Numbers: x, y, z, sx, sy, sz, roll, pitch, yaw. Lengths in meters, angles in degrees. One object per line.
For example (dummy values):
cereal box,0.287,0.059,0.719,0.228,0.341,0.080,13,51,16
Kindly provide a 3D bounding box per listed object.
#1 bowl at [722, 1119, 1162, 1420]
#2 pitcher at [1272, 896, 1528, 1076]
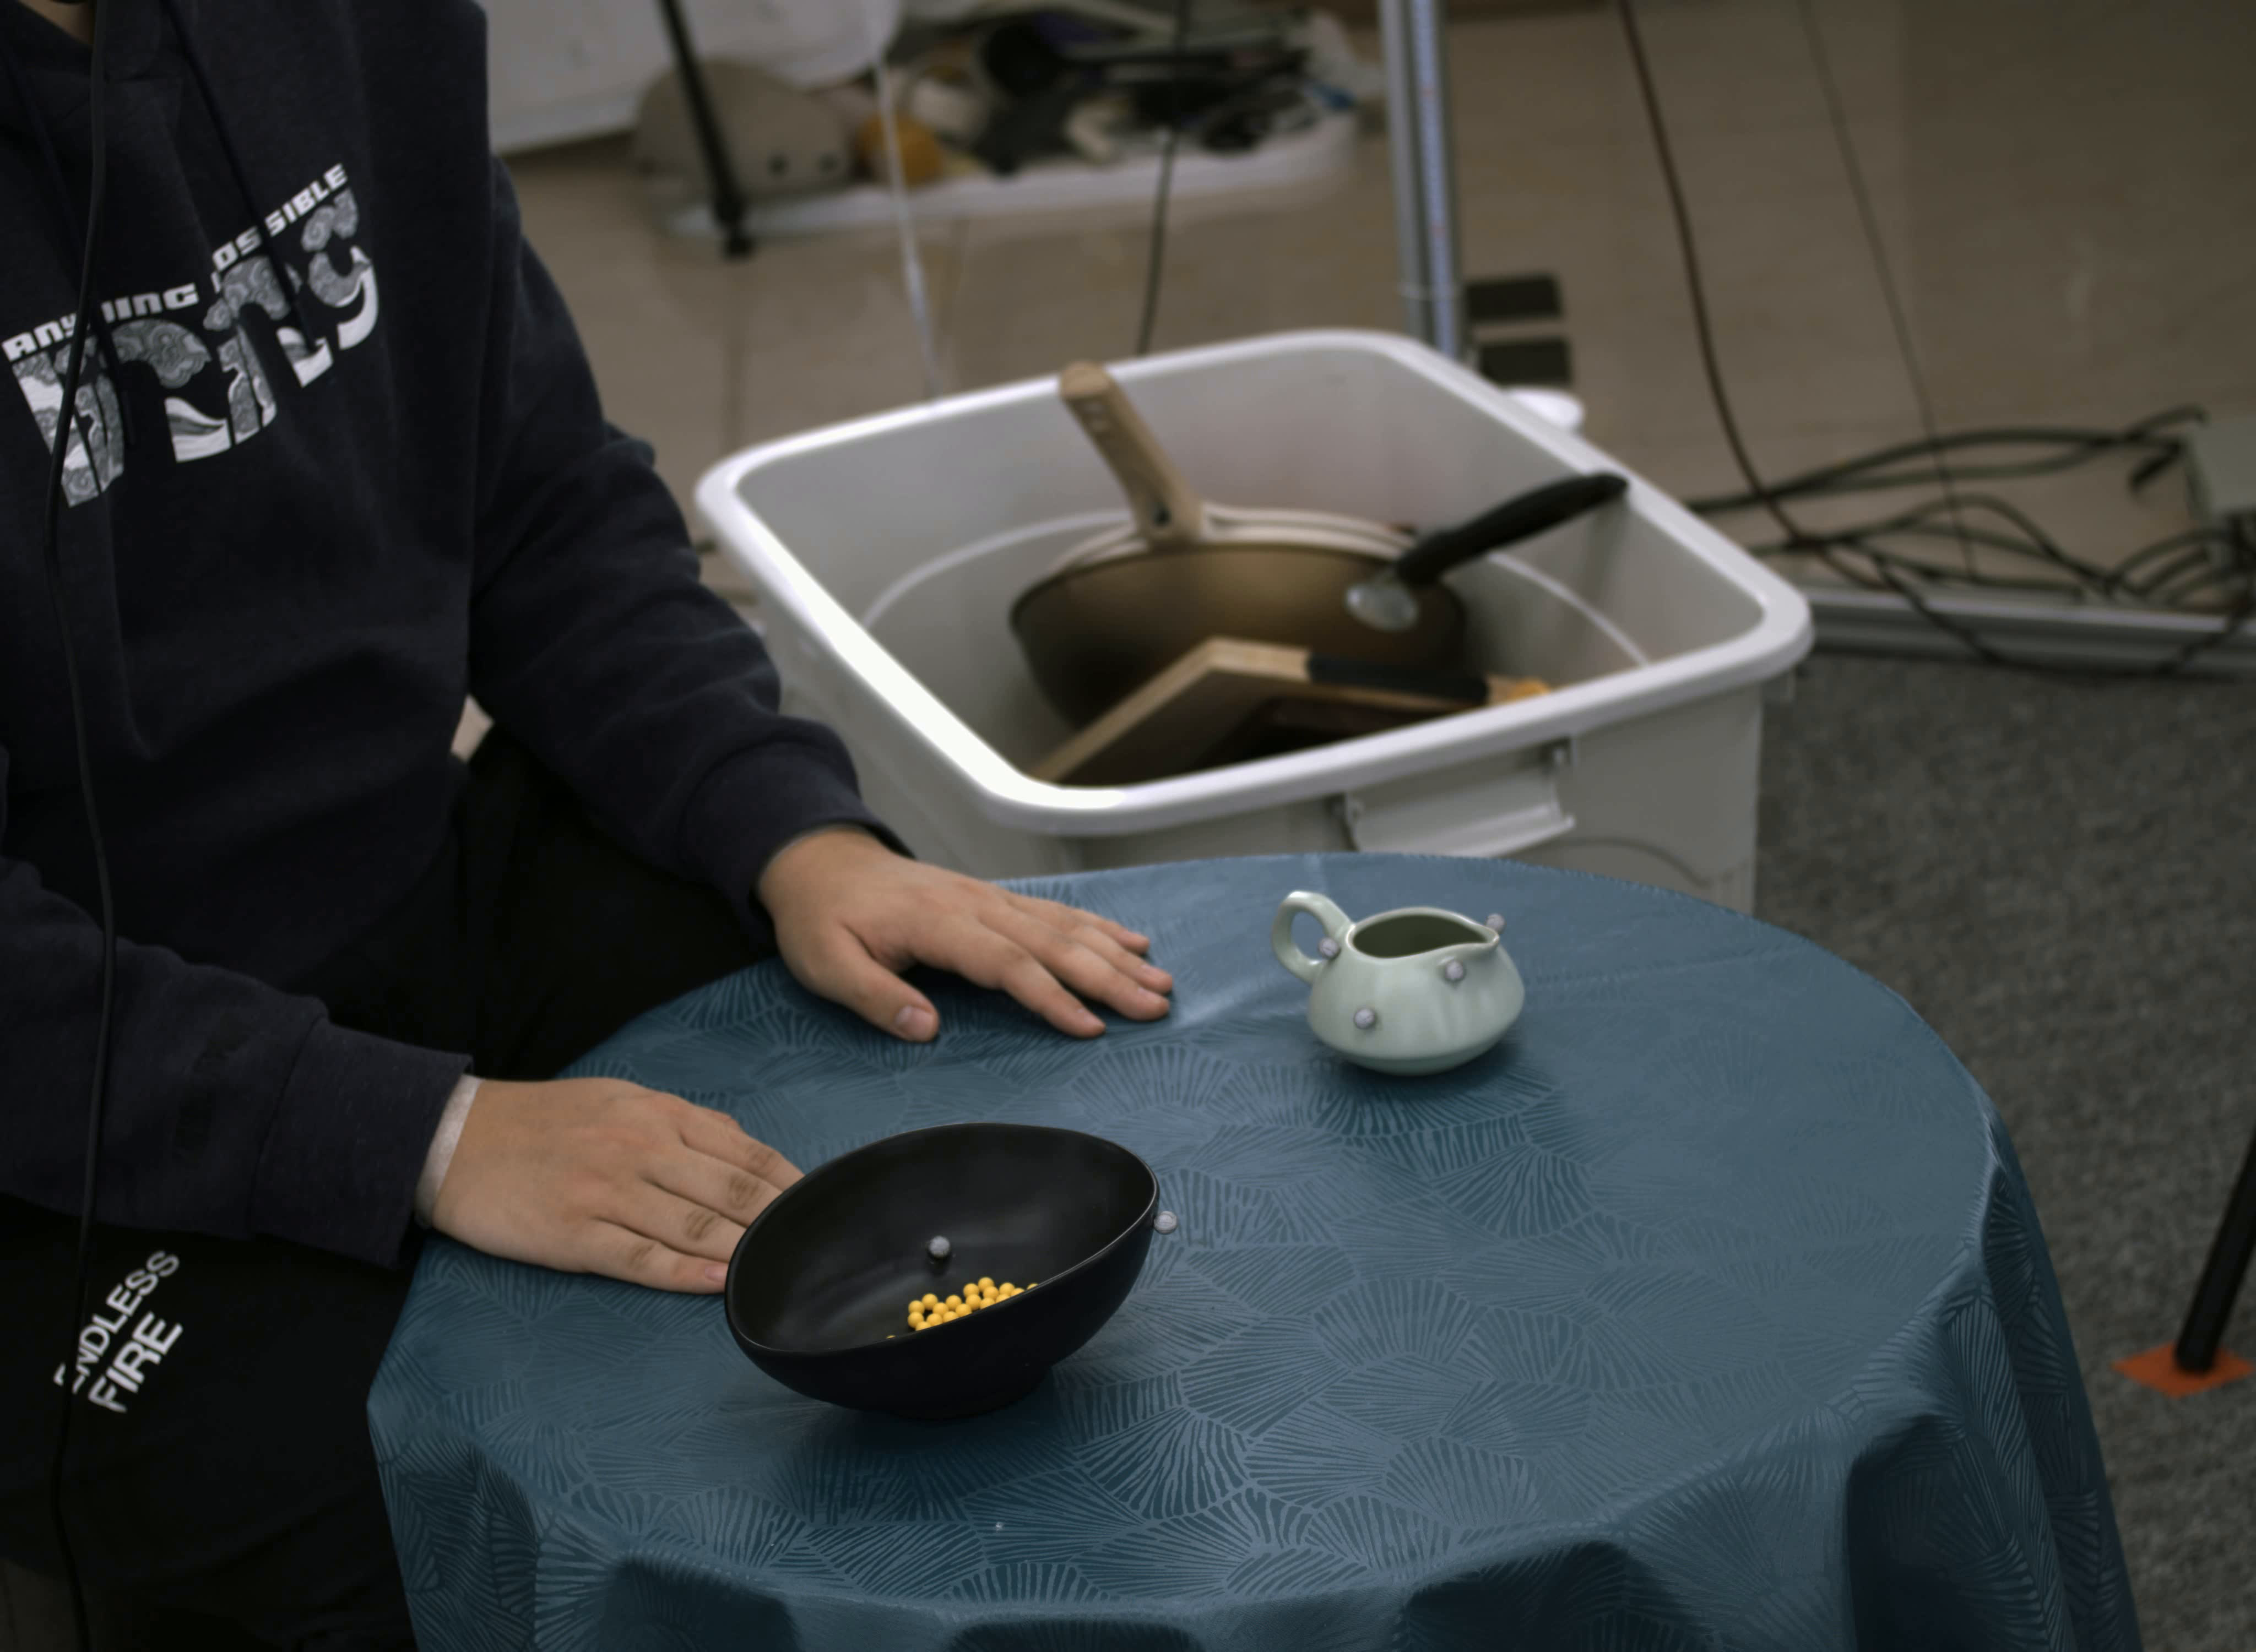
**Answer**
bowl,-0.063,0.168,2.025,0.169,0.068,0.136,-26,30,-34
pitcher,0.103,0.061,2.226,0.107,0.061,0.085,9,28,34
